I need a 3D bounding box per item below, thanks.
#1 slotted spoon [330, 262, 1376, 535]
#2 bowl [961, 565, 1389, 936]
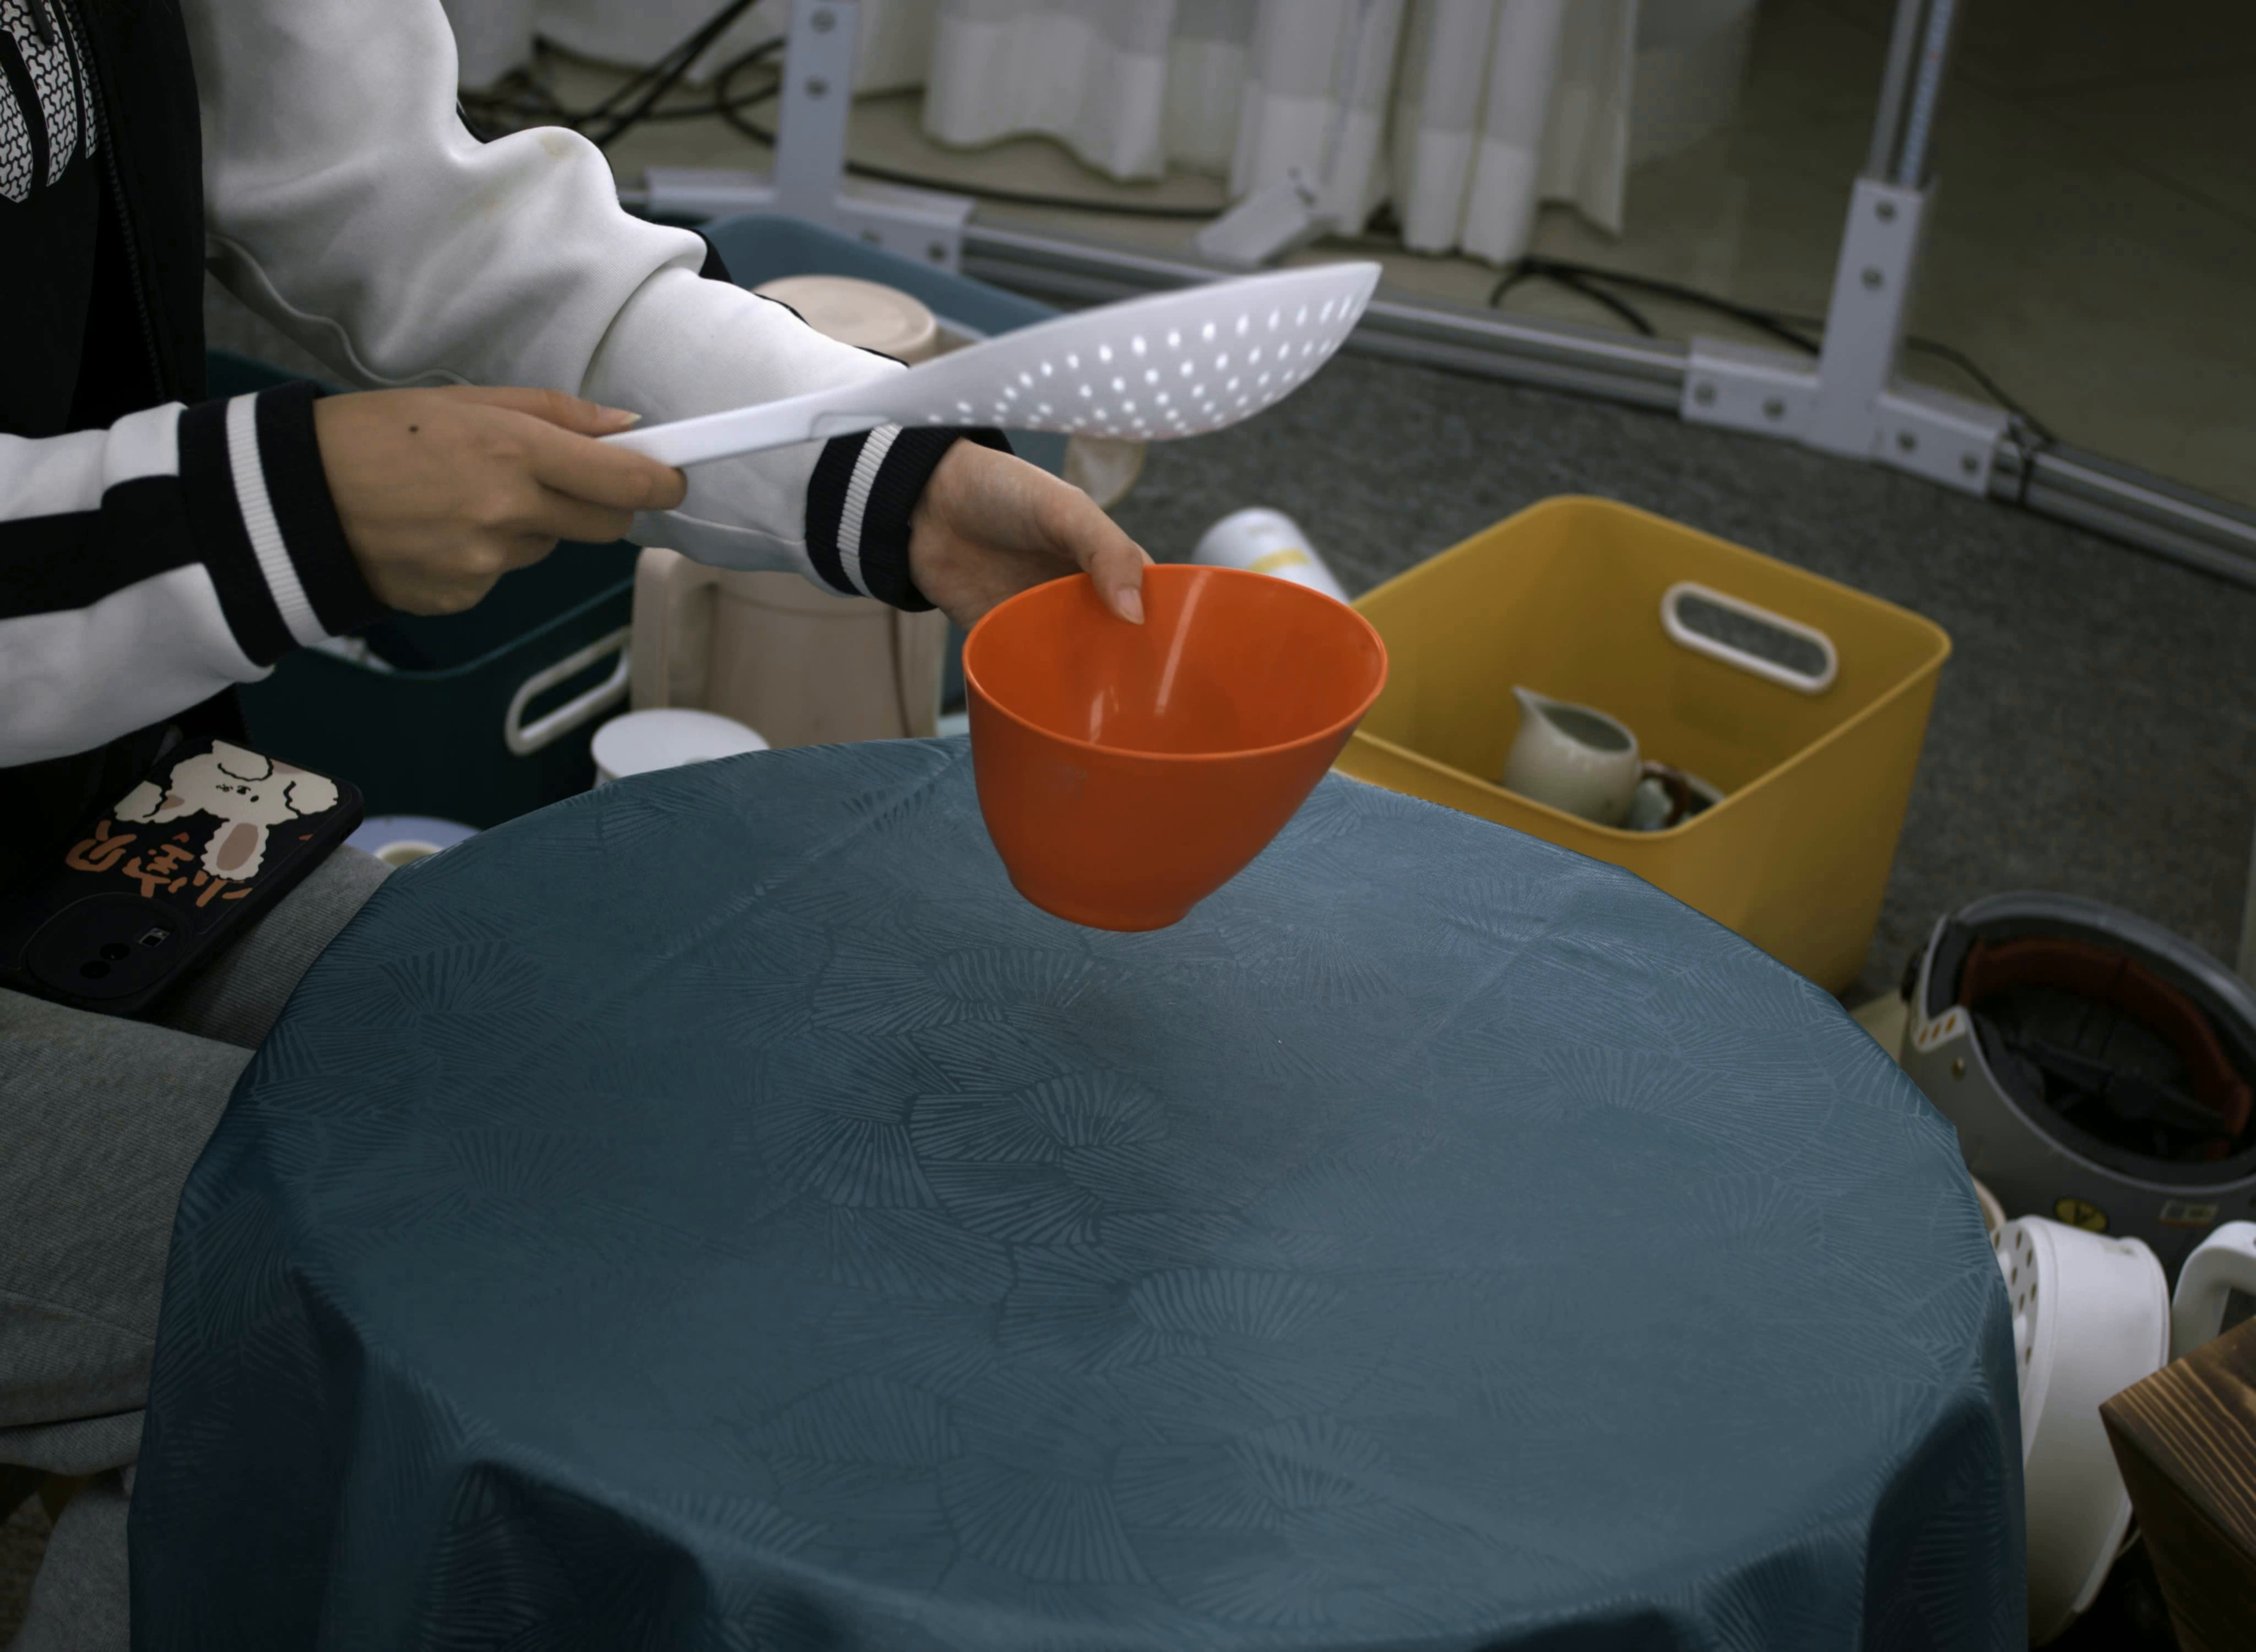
[{"bbox_3d":[-0.090,-0.135,1.697,0.350,0.046,0.136,-6,4,13],"label":"slotted spoon"},{"bbox_3d":[0.010,-0.021,1.870,0.147,0.104,0.149,9,27,-5],"label":"bowl"}]
